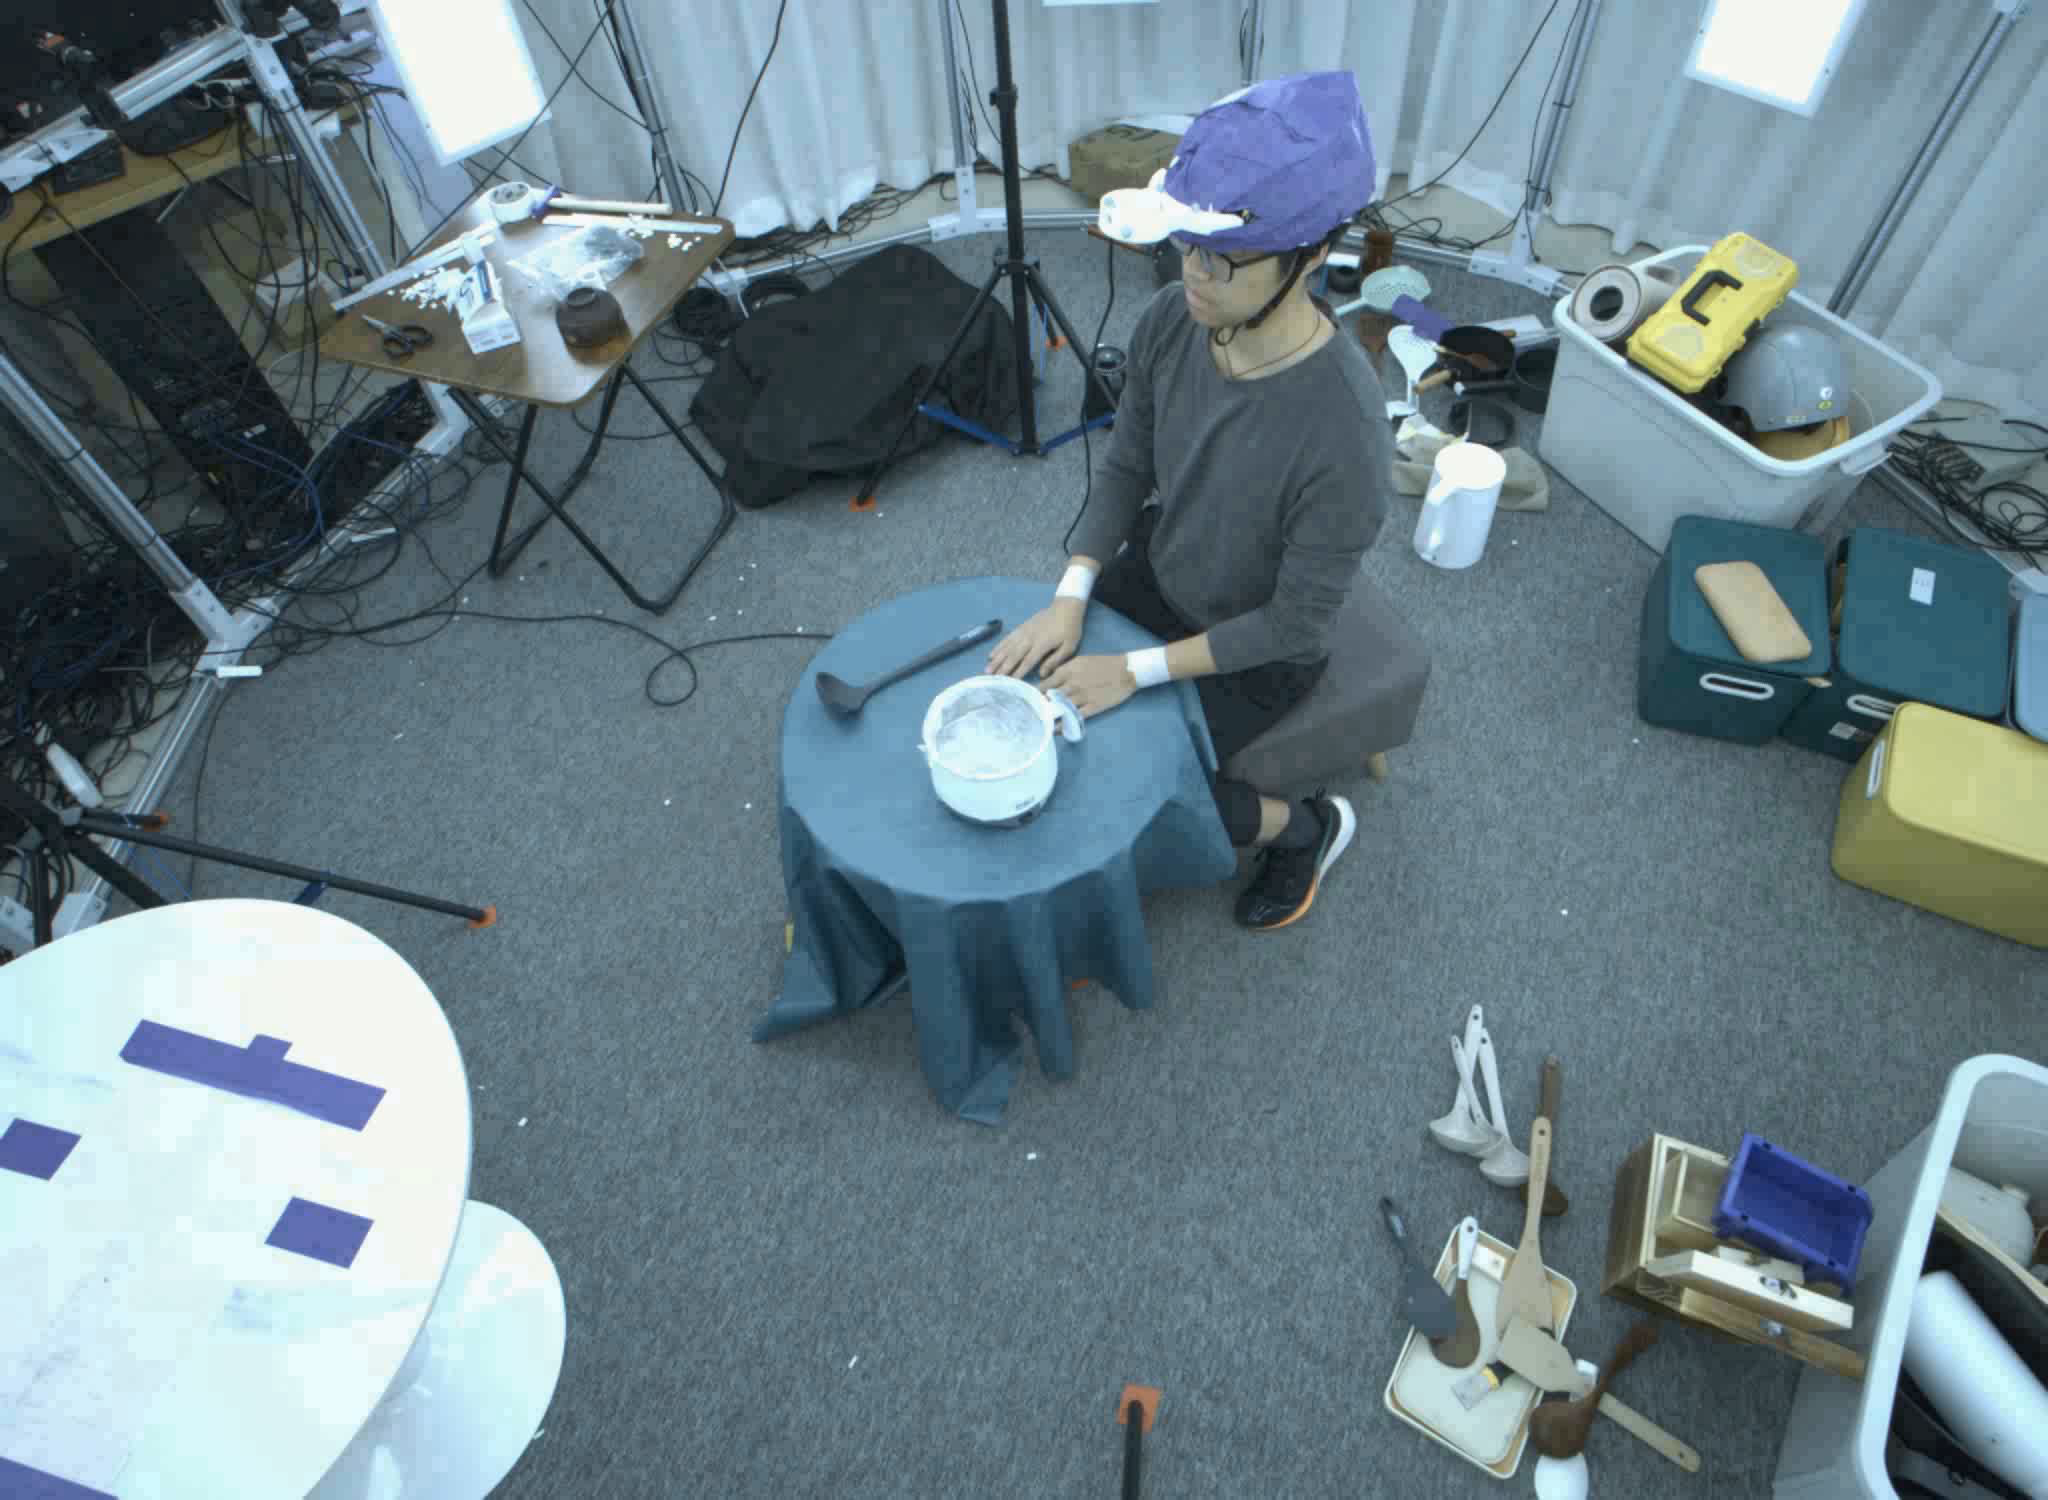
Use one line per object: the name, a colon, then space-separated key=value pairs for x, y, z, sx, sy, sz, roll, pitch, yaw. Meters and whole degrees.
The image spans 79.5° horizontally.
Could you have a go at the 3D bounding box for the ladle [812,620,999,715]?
ladle: x=-0.174 y=-0.142 z=1.862 sx=0.316 sy=0.064 sz=0.085 roll=-28 pitch=63 yaw=-18

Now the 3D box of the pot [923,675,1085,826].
pot: x=-0.021 y=-0.009 z=1.717 sx=0.235 sy=0.138 sz=0.175 roll=-28 pitch=58 yaw=-17
